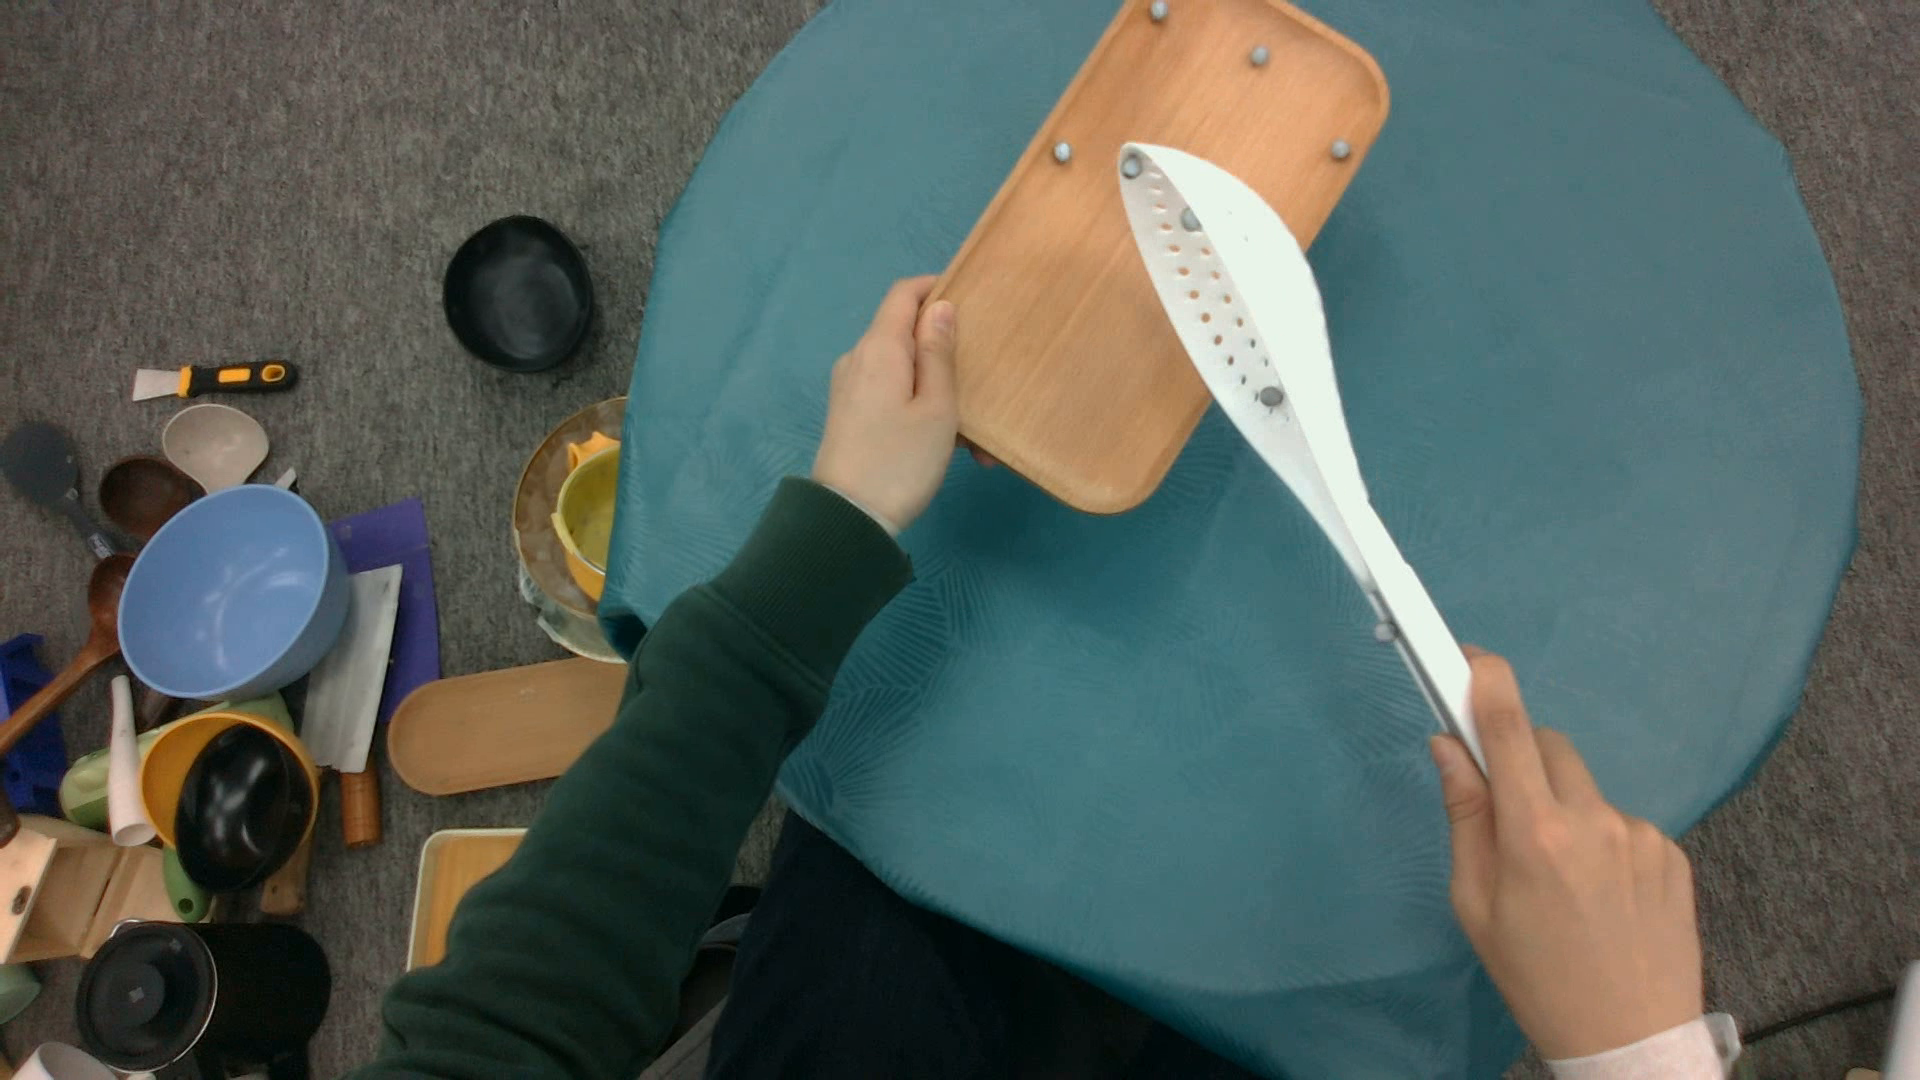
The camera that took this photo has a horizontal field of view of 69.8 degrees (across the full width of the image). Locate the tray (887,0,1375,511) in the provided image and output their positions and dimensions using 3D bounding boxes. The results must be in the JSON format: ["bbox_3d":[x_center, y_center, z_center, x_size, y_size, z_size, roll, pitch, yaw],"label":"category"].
[{"bbox_3d":[0.078,-0.138,0.609,0.130,0.023,0.251,33,79,4],"label":"tray"}]

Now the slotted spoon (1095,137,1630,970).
[{"bbox_3d":[0.144,-0.003,0.511,0.046,0.136,0.350,-25,81,3],"label":"slotted spoon"}]
